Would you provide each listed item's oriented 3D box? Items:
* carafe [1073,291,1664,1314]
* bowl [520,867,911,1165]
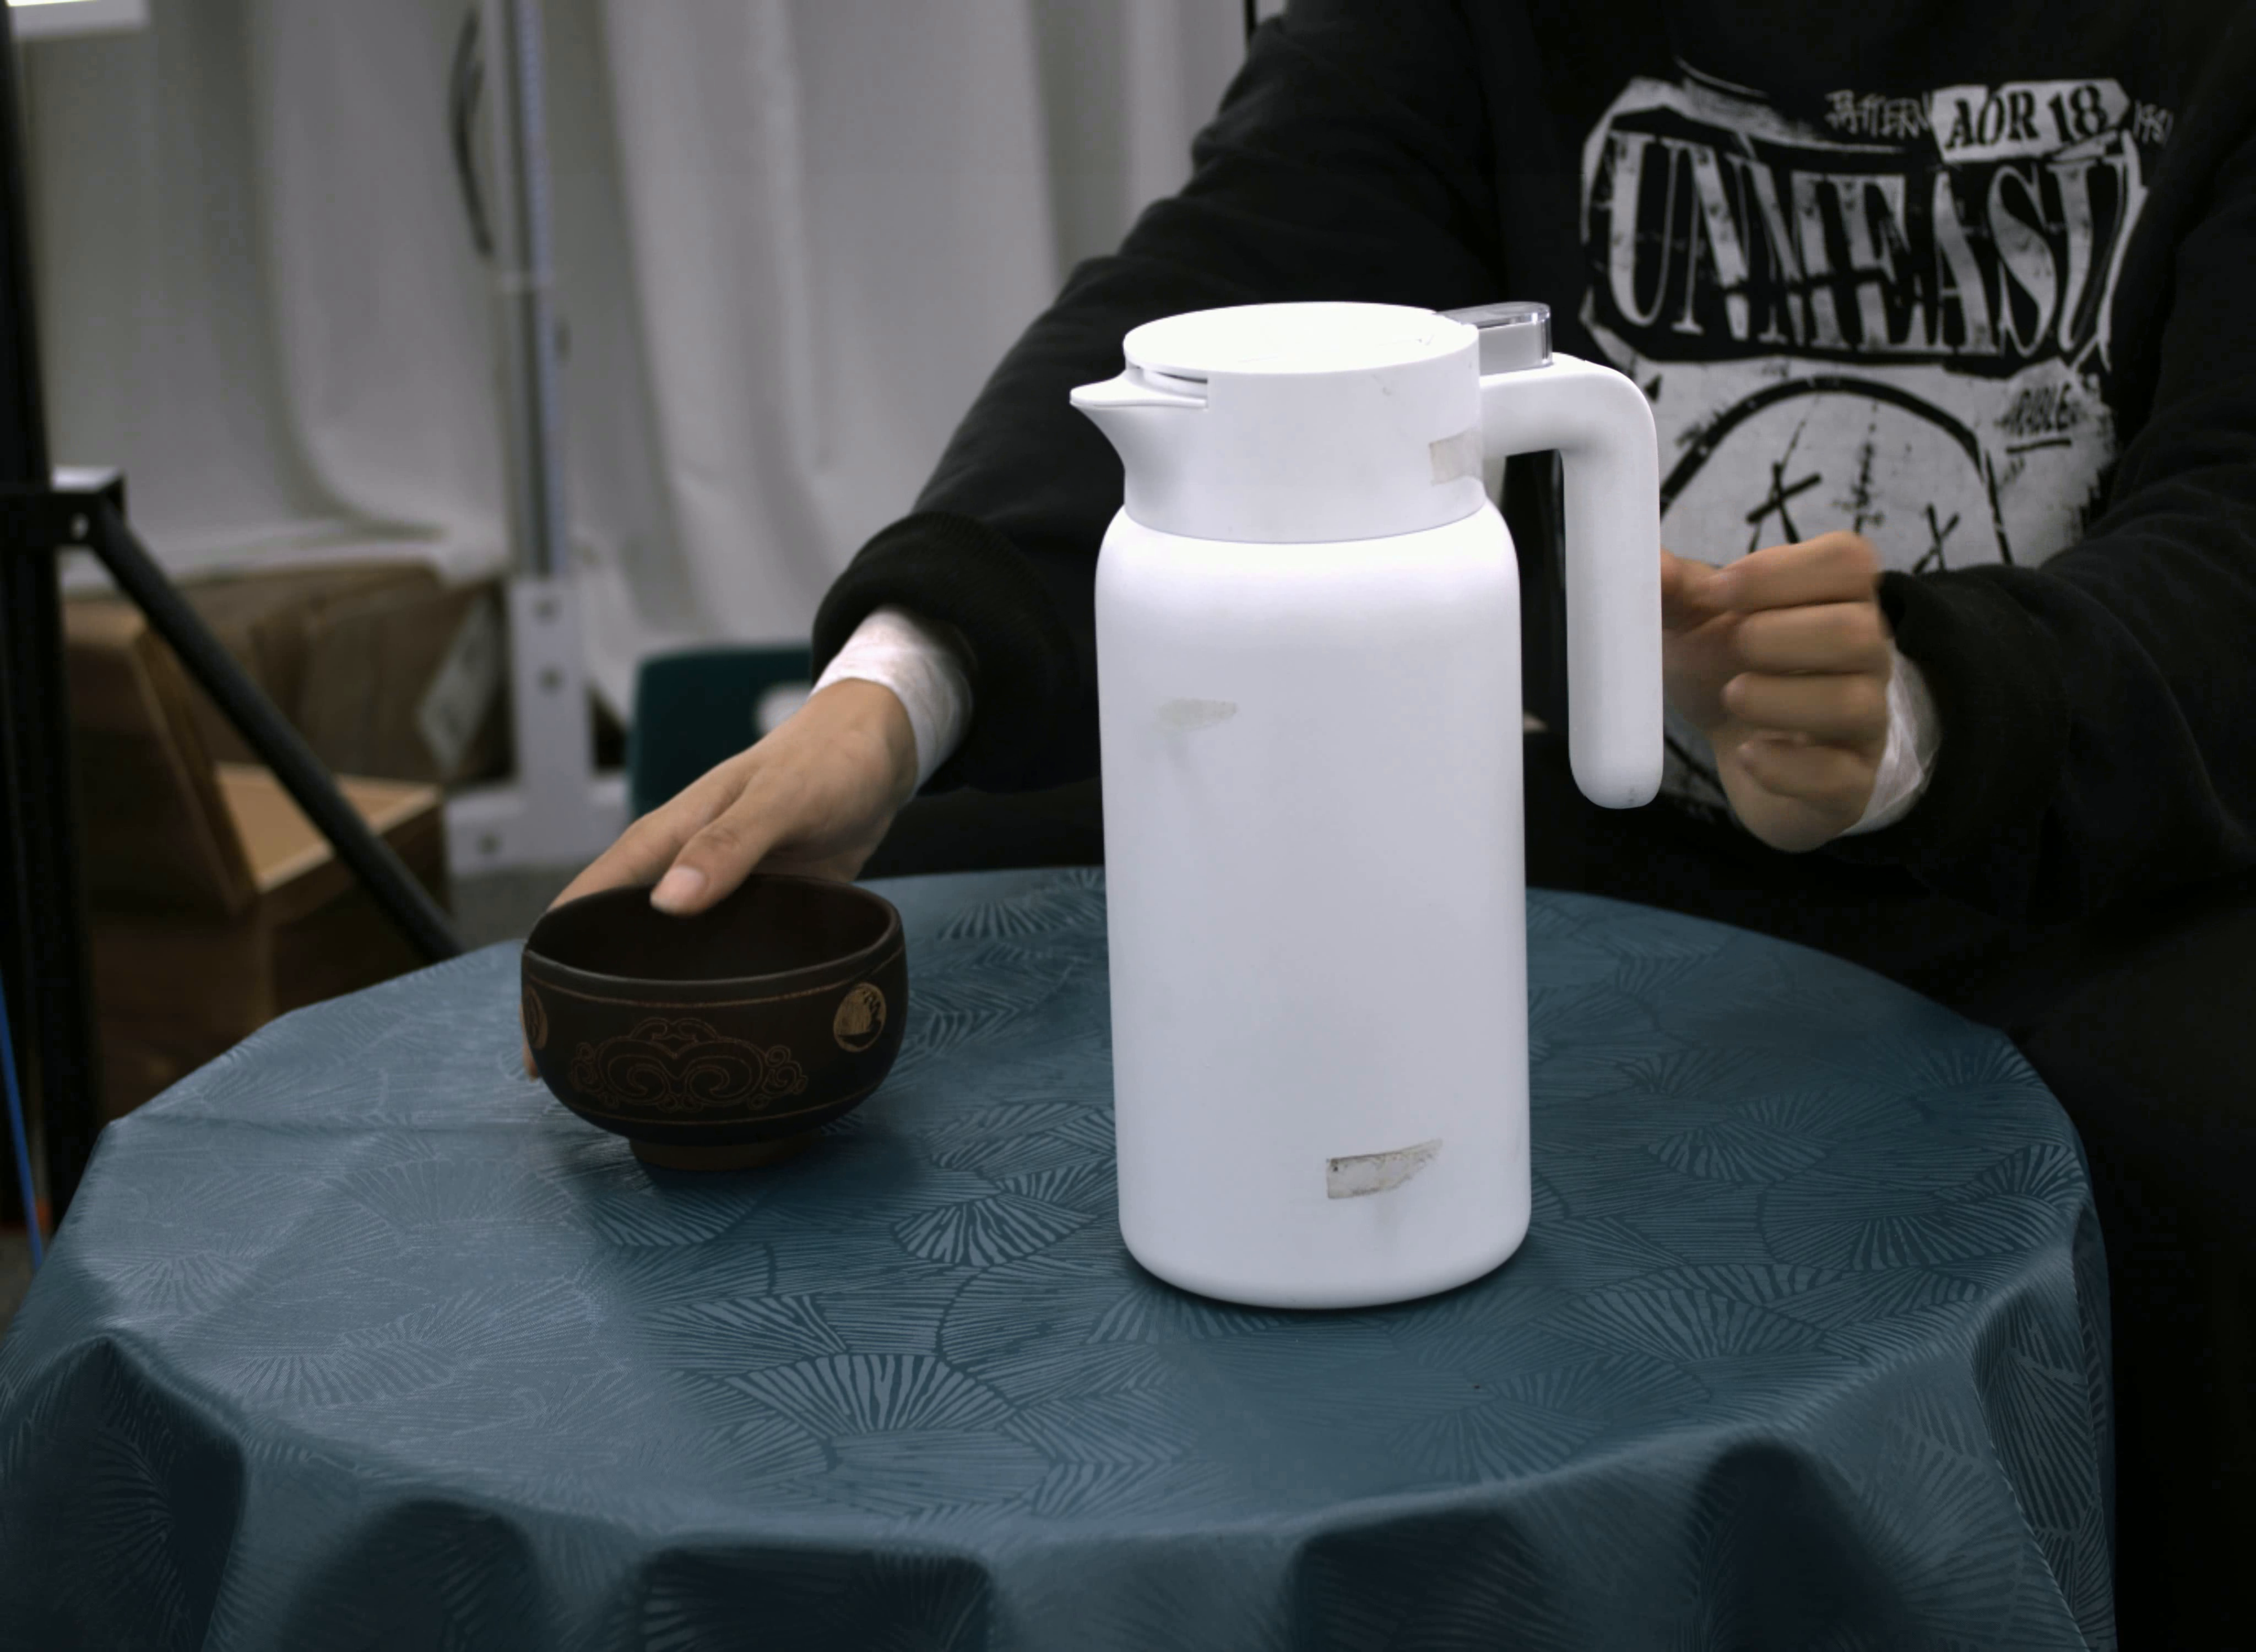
[{"bbox_3d":[0.068,-0.010,1.473,0.169,0.269,0.126,-9,14,-23],"label":"carafe"},{"bbox_3d":[-0.123,0.061,1.608,0.117,0.070,0.118,-3,15,-1],"label":"bowl"}]
